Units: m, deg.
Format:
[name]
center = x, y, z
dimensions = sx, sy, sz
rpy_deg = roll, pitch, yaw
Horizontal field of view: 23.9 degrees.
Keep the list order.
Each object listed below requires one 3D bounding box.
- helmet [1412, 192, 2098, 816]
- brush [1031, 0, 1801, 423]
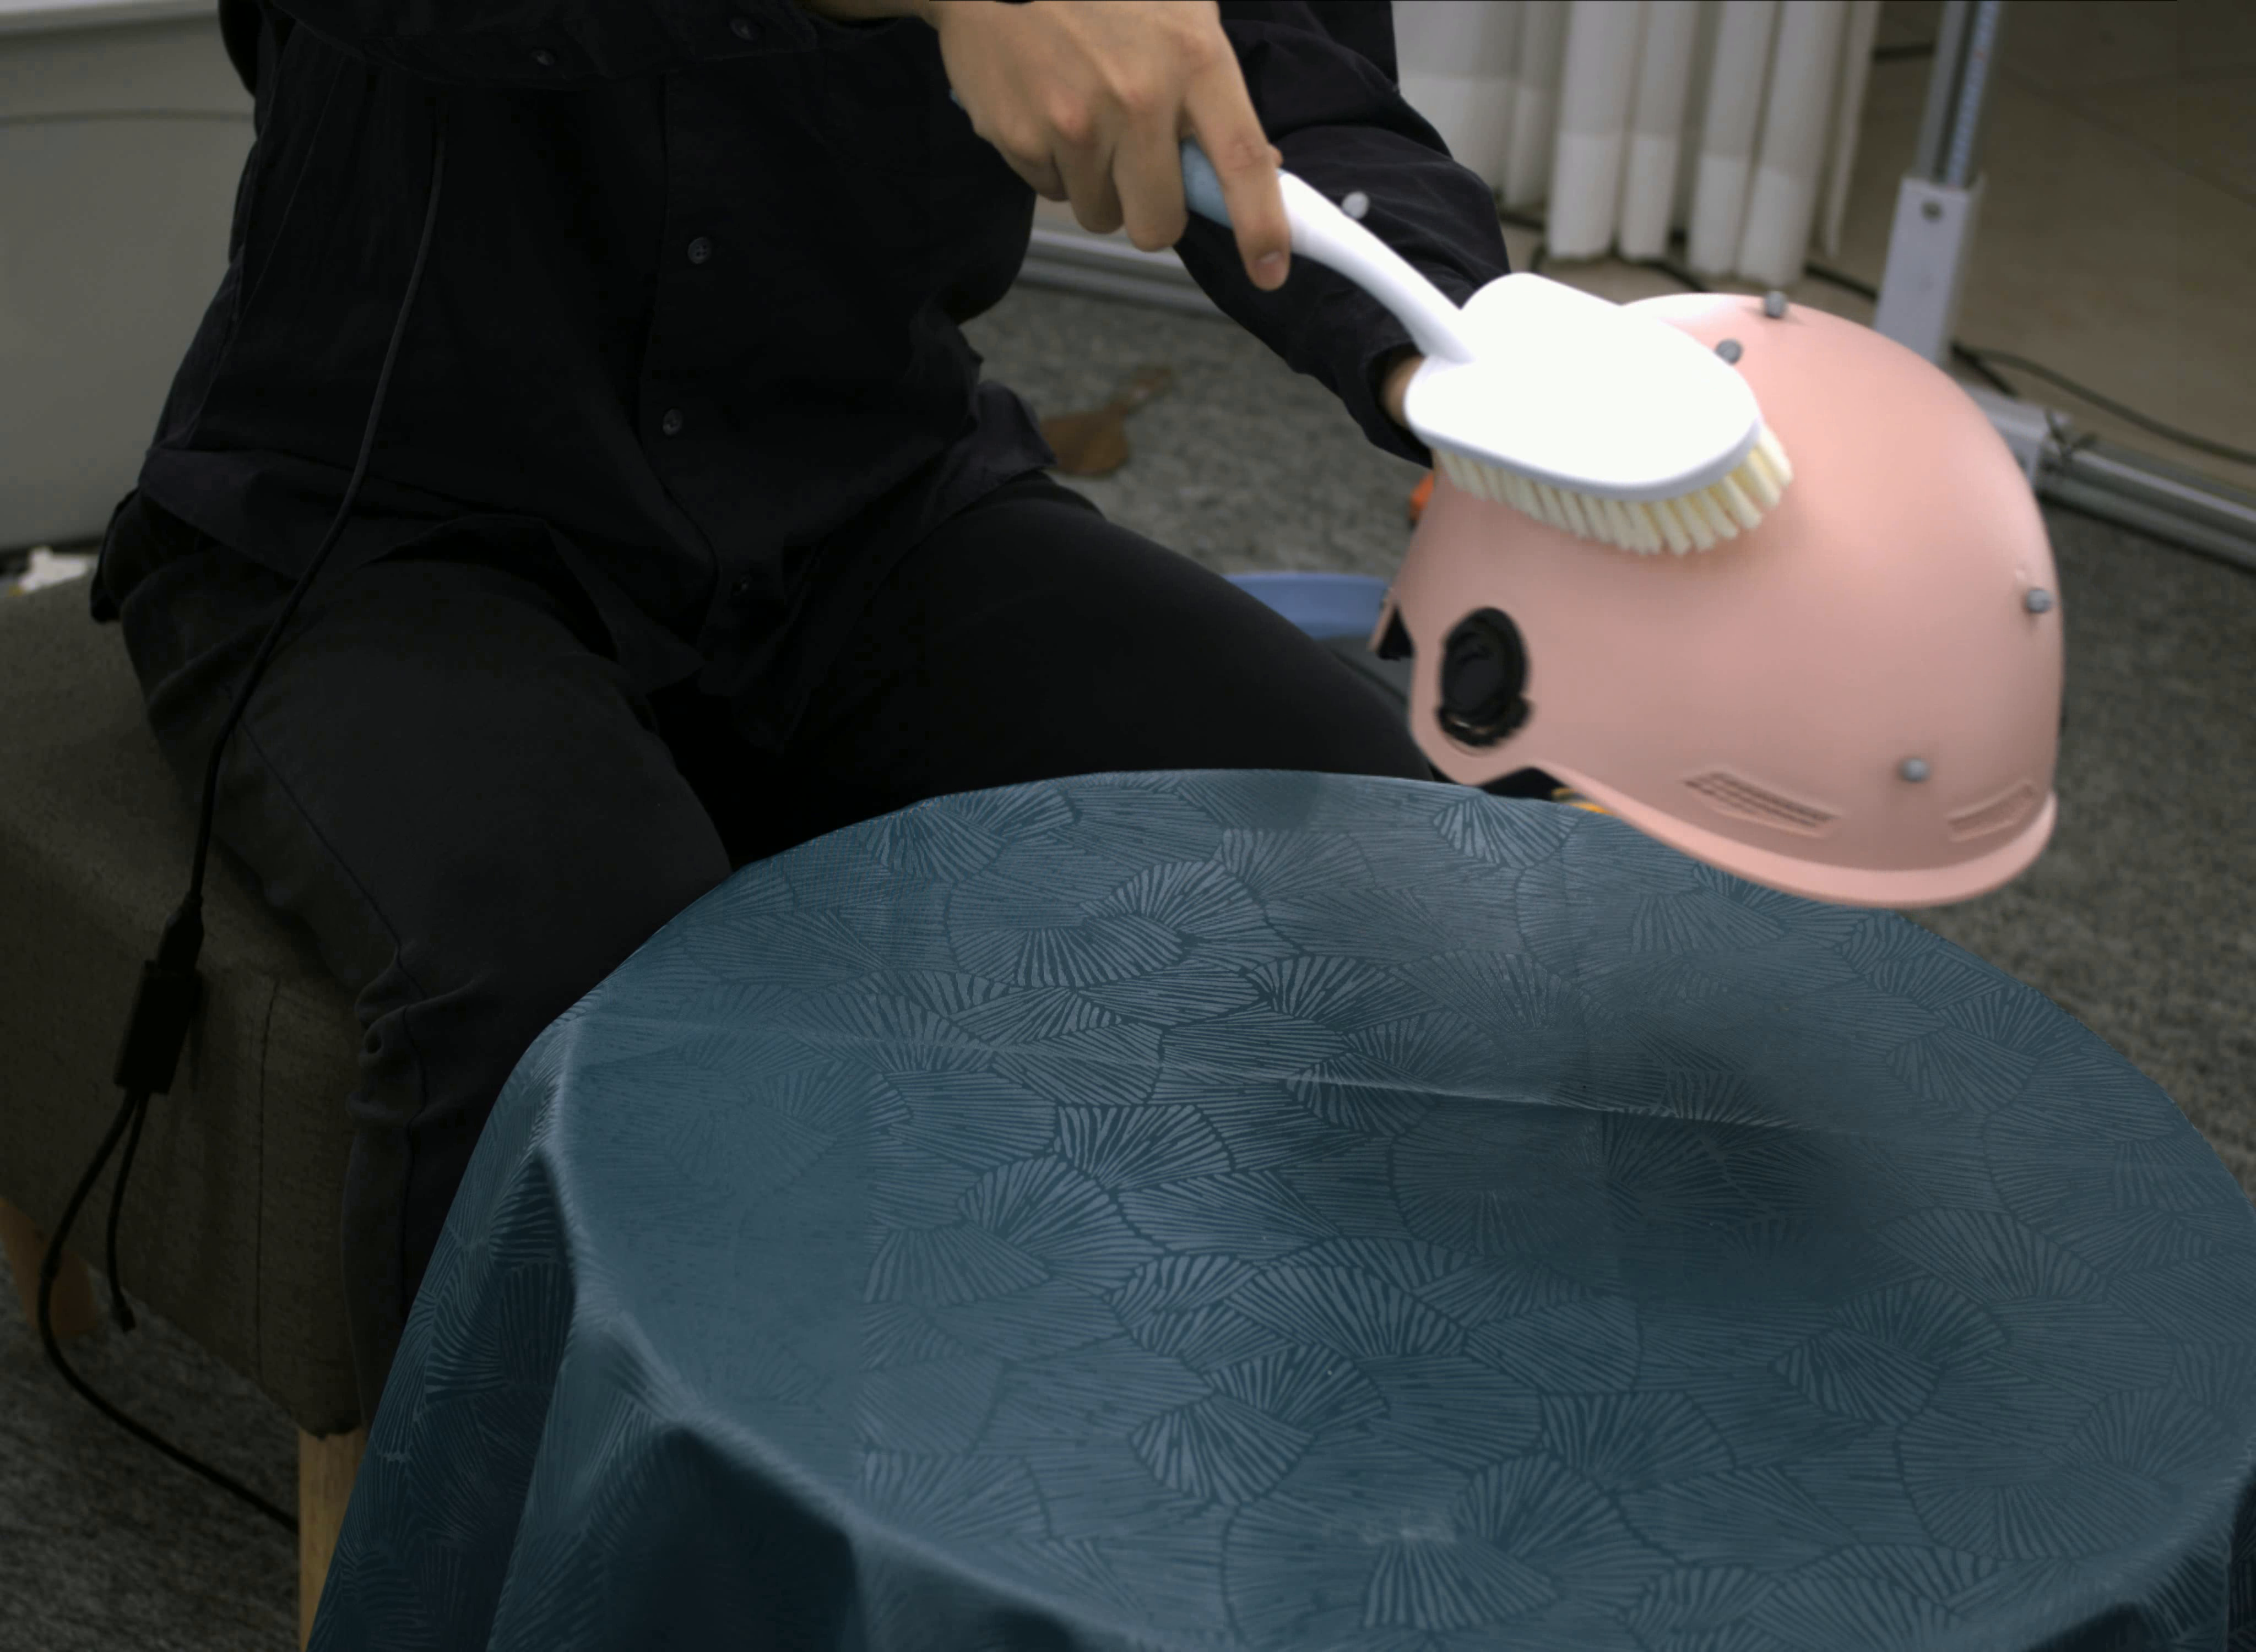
[helmet]
center = 0.229, -0.126, 1.819
dimensions = 0.232, 0.158, 0.268
rpy_deg = 2, 27, -24
[brush]
center = 0.086, -0.218, 1.783
dimensions = 0.327, 0.084, 0.083
rpy_deg = 29, 36, 26
